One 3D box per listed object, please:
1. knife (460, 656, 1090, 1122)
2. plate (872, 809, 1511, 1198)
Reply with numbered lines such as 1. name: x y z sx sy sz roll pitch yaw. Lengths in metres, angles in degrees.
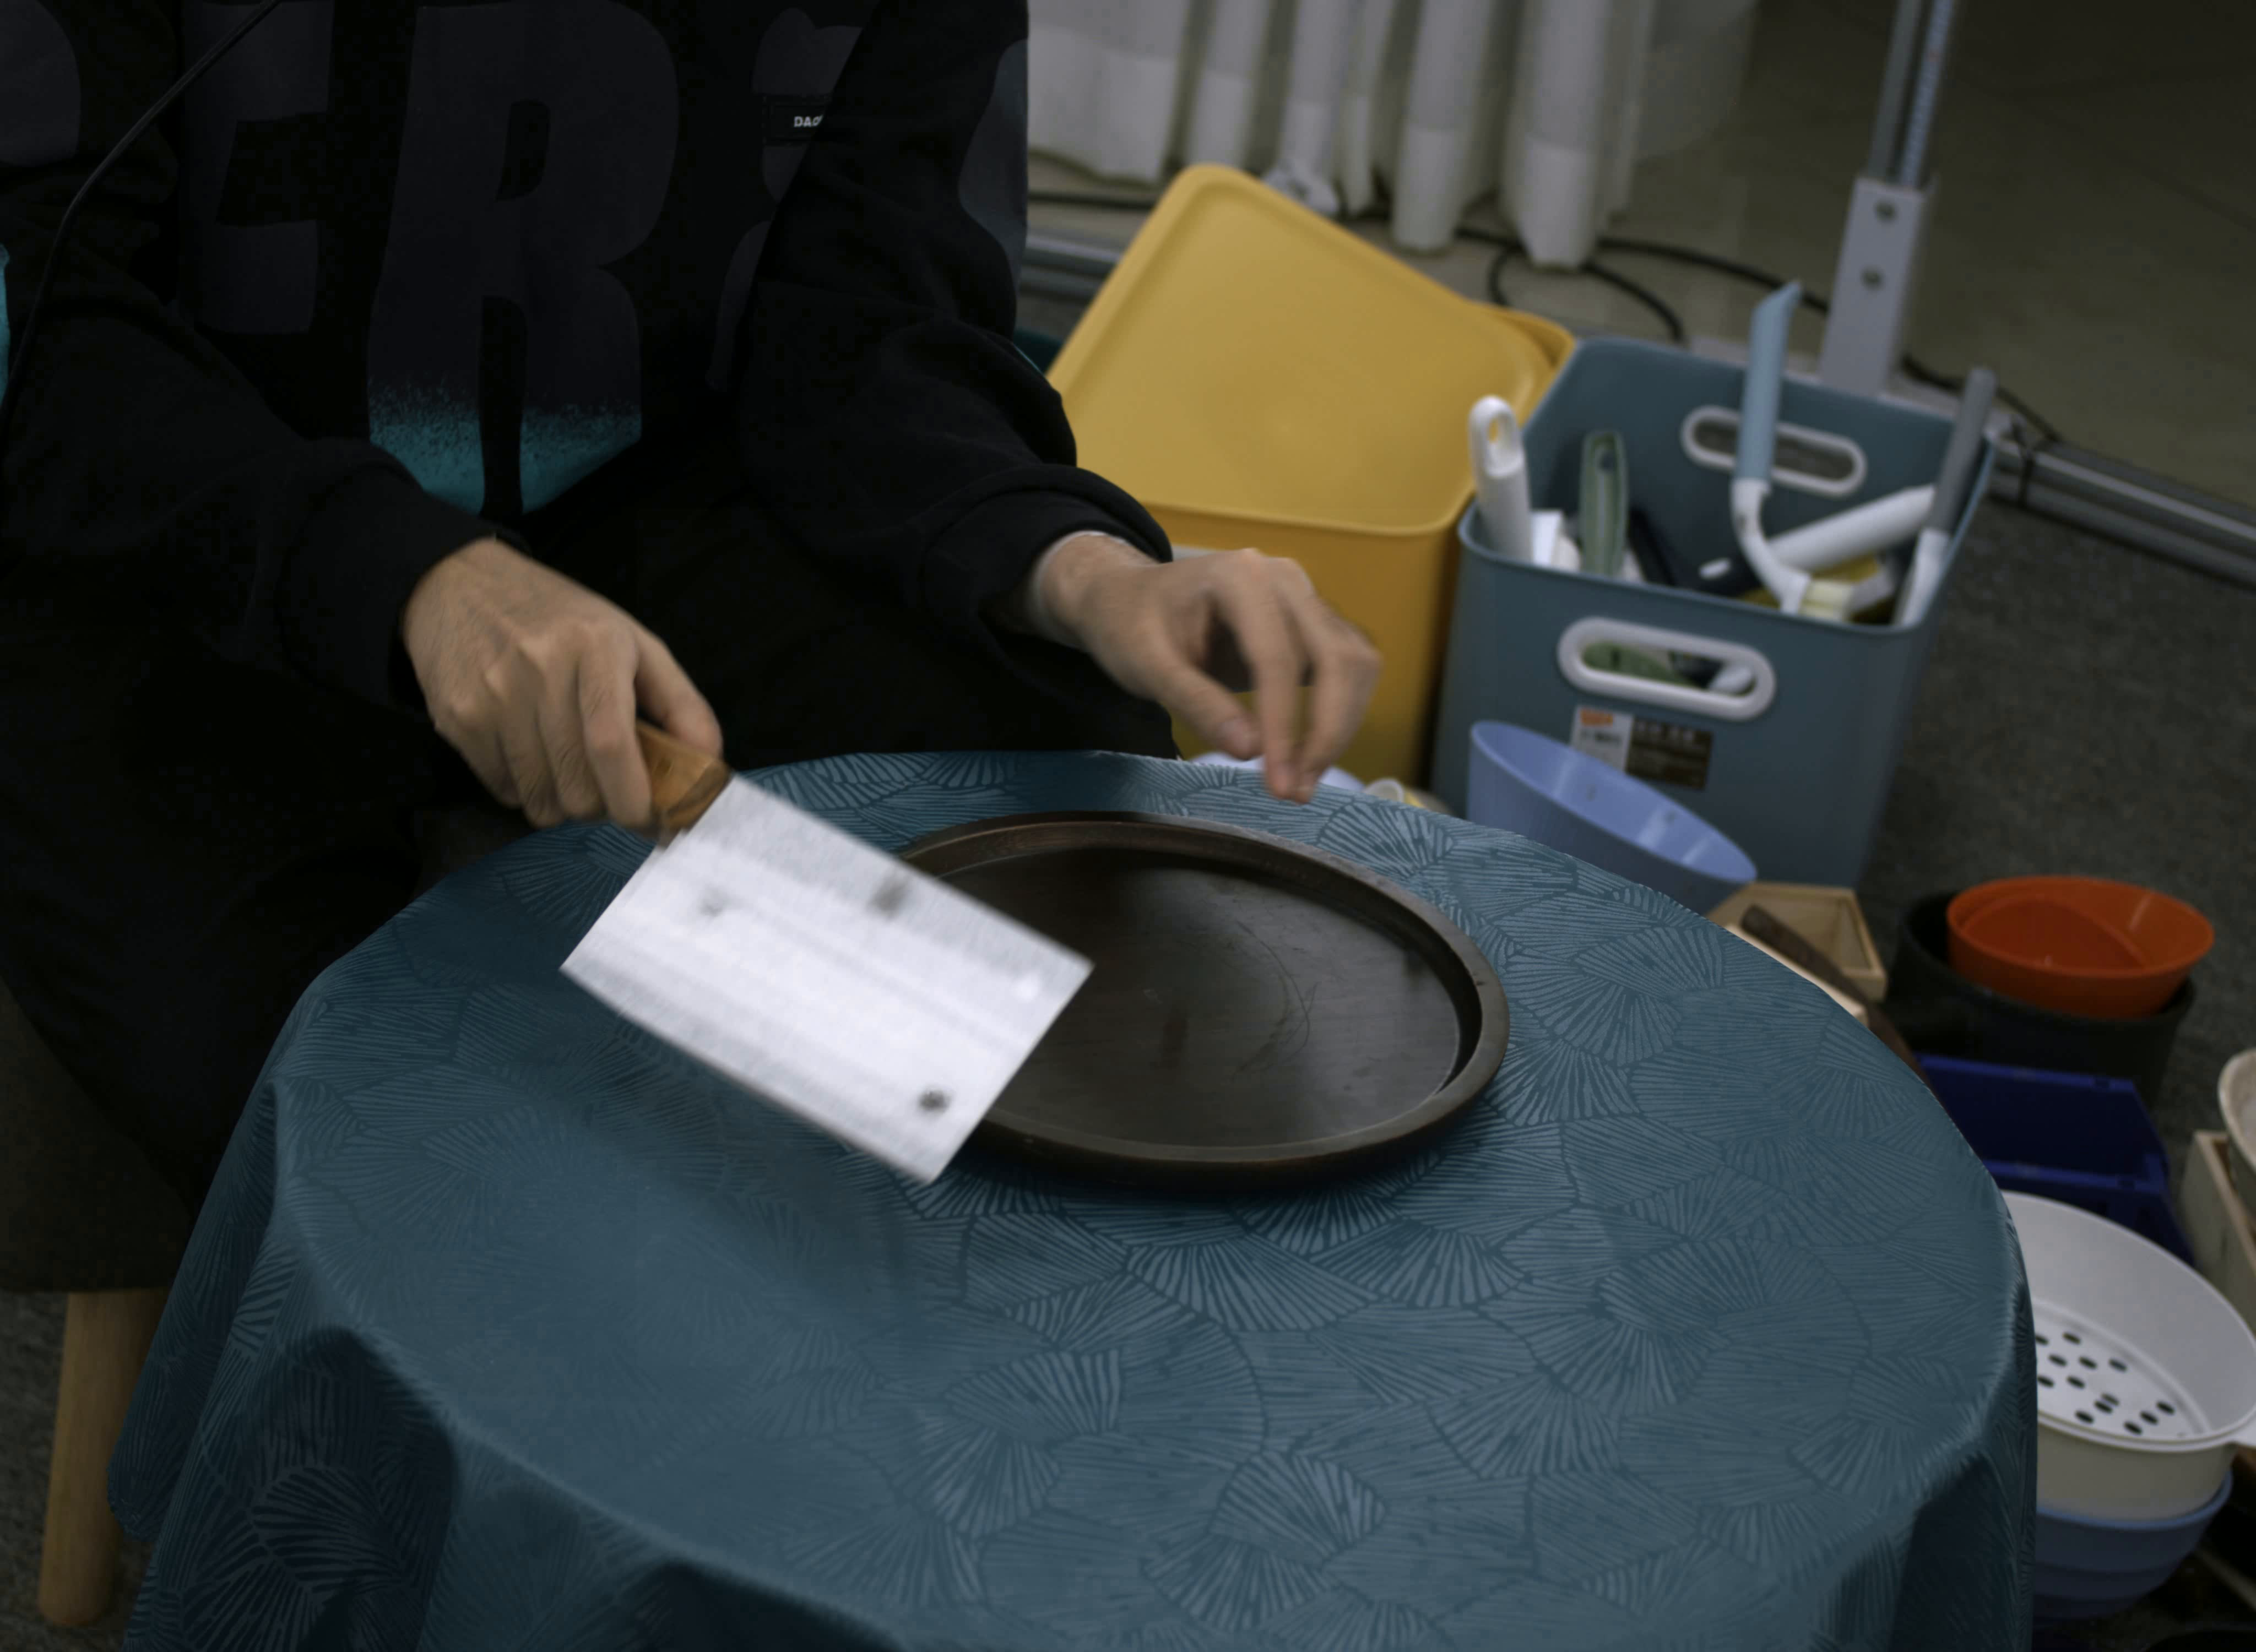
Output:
1. knife: -0.139 0.022 1.811 0.308 0.021 0.093 26 75 40
2. plate: 0.011 0.061 1.898 0.254 0.029 0.256 7 27 -4
